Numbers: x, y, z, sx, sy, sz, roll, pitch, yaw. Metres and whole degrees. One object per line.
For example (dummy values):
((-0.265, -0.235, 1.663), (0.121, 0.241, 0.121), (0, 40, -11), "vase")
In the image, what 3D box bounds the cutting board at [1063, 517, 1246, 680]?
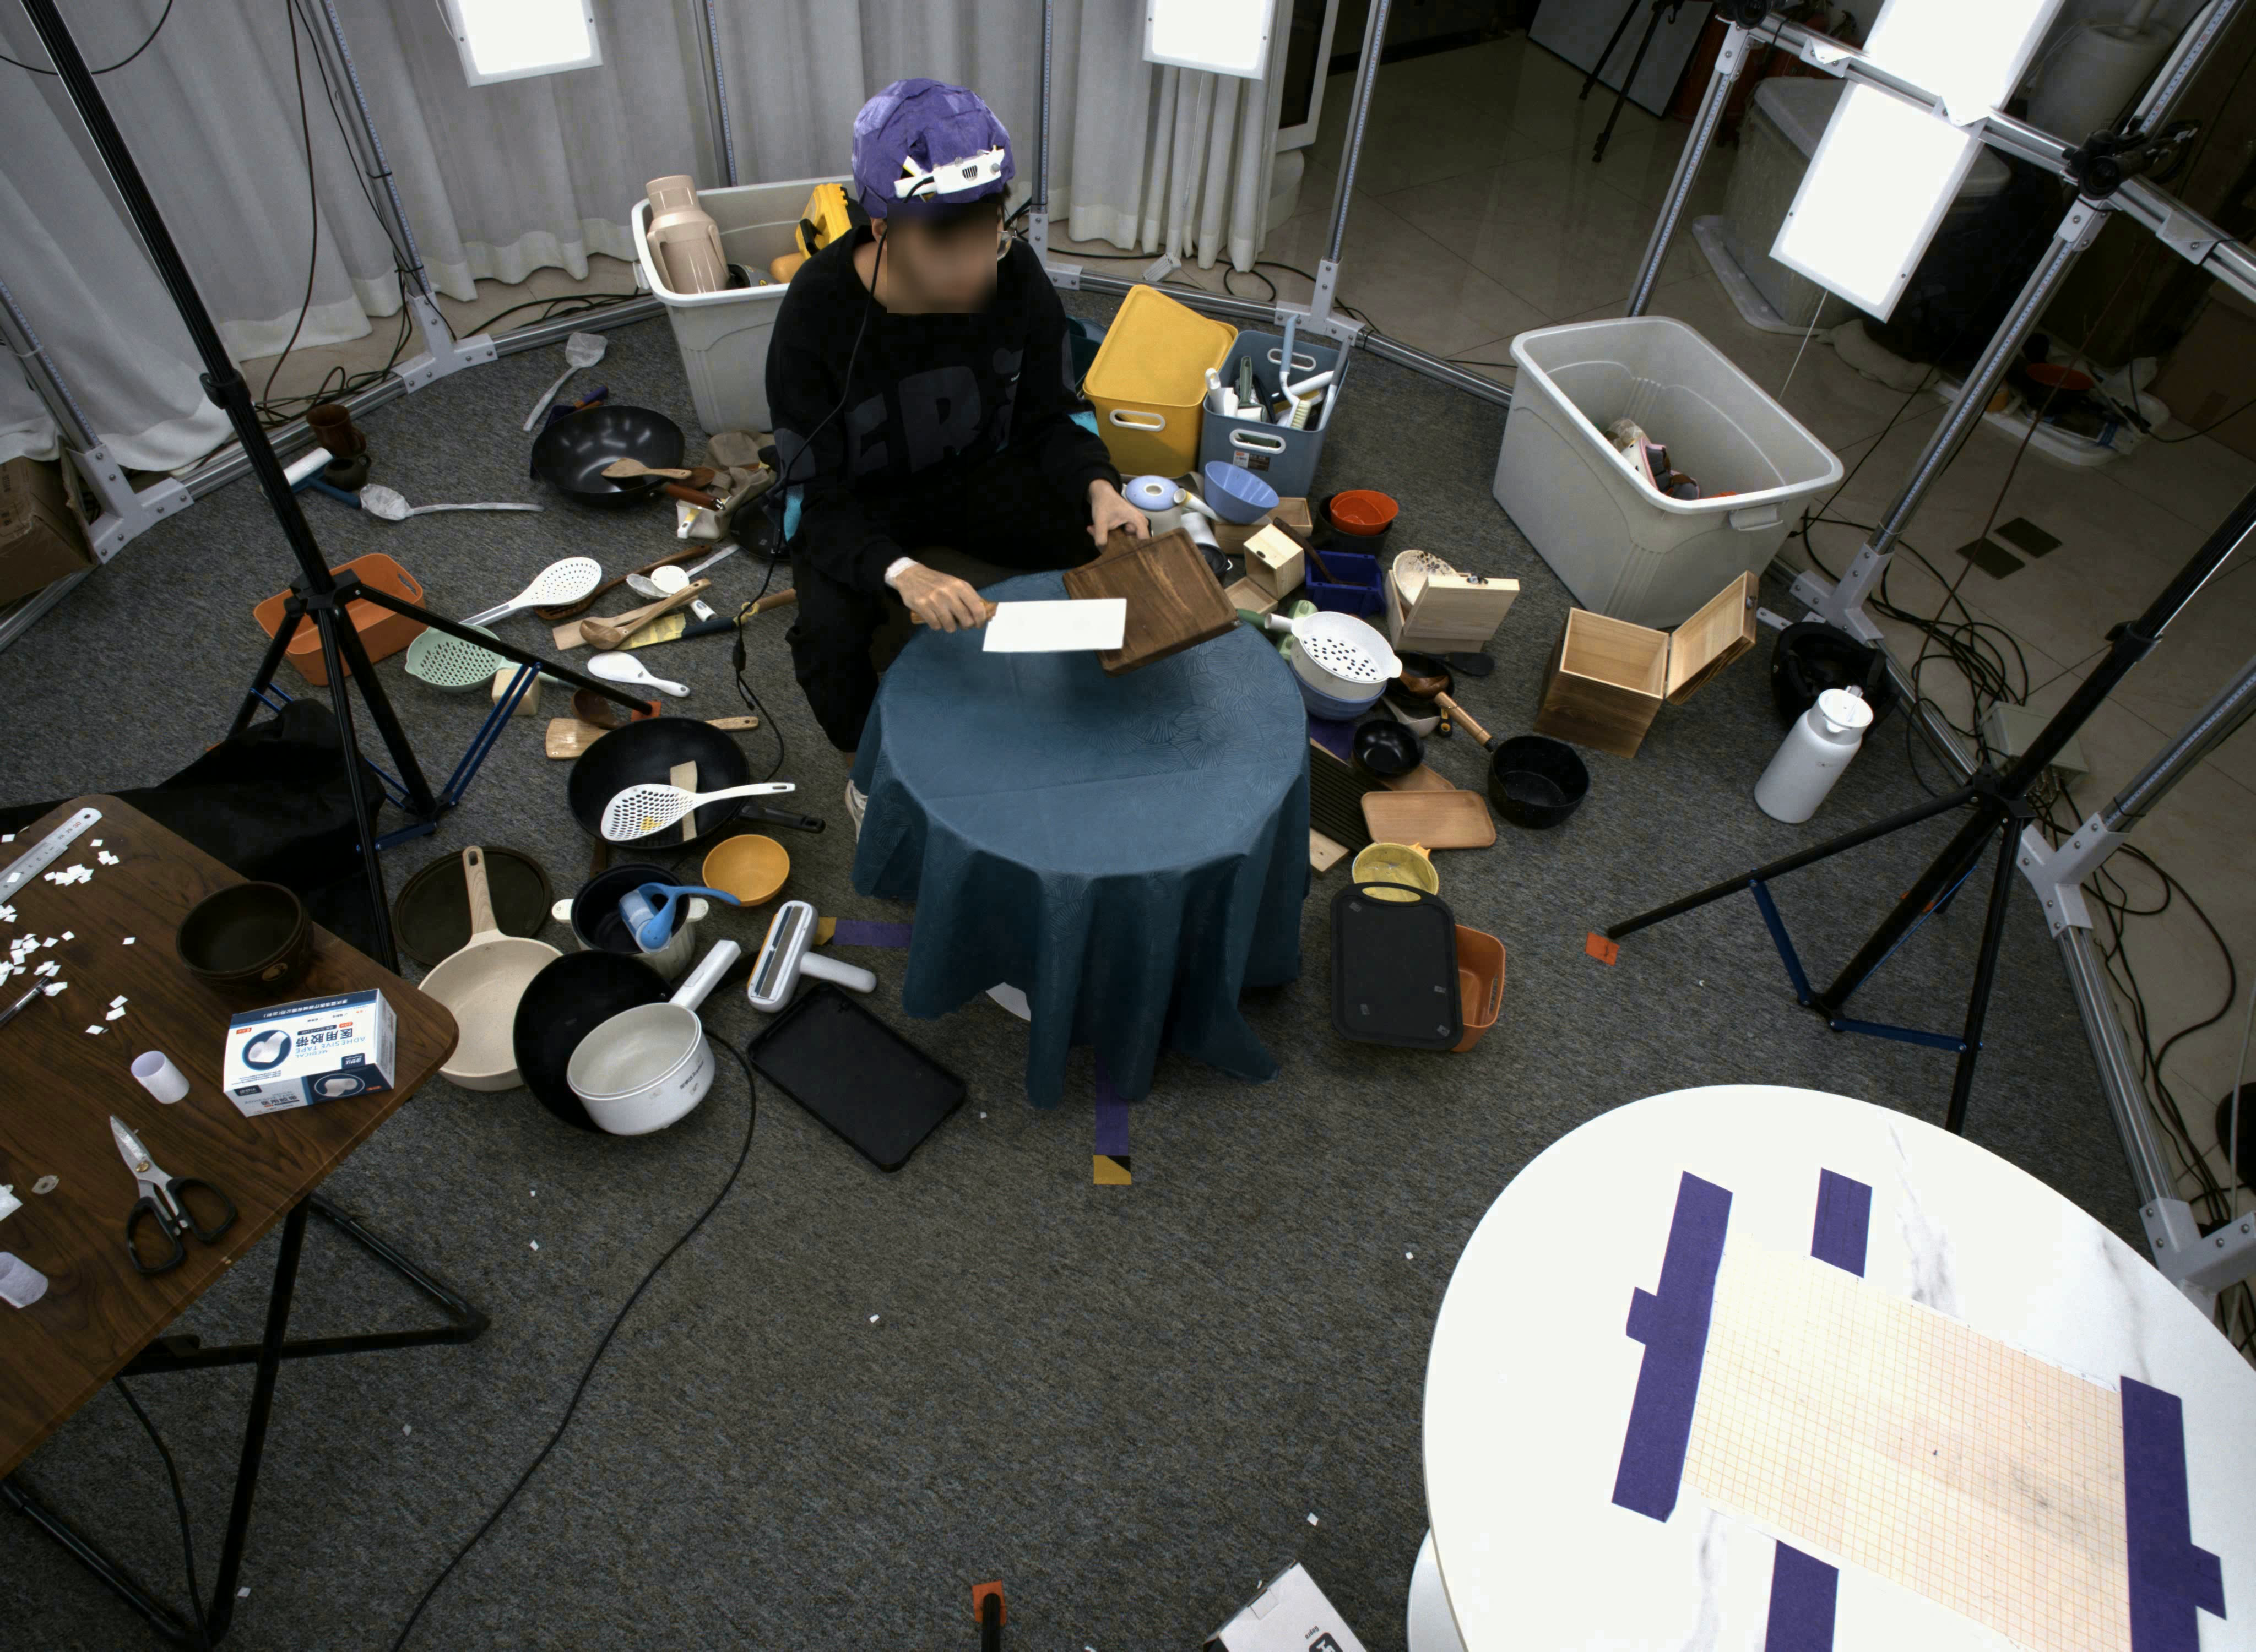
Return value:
((0.018, -0.348, 1.833), (0.201, 0.022, 0.361), (-22, 43, -1), "cutting board")

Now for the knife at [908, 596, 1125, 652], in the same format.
((-0.155, -0.274, 1.747), (0.306, 0.020, 0.095), (-1, 55, 9), "knife")
